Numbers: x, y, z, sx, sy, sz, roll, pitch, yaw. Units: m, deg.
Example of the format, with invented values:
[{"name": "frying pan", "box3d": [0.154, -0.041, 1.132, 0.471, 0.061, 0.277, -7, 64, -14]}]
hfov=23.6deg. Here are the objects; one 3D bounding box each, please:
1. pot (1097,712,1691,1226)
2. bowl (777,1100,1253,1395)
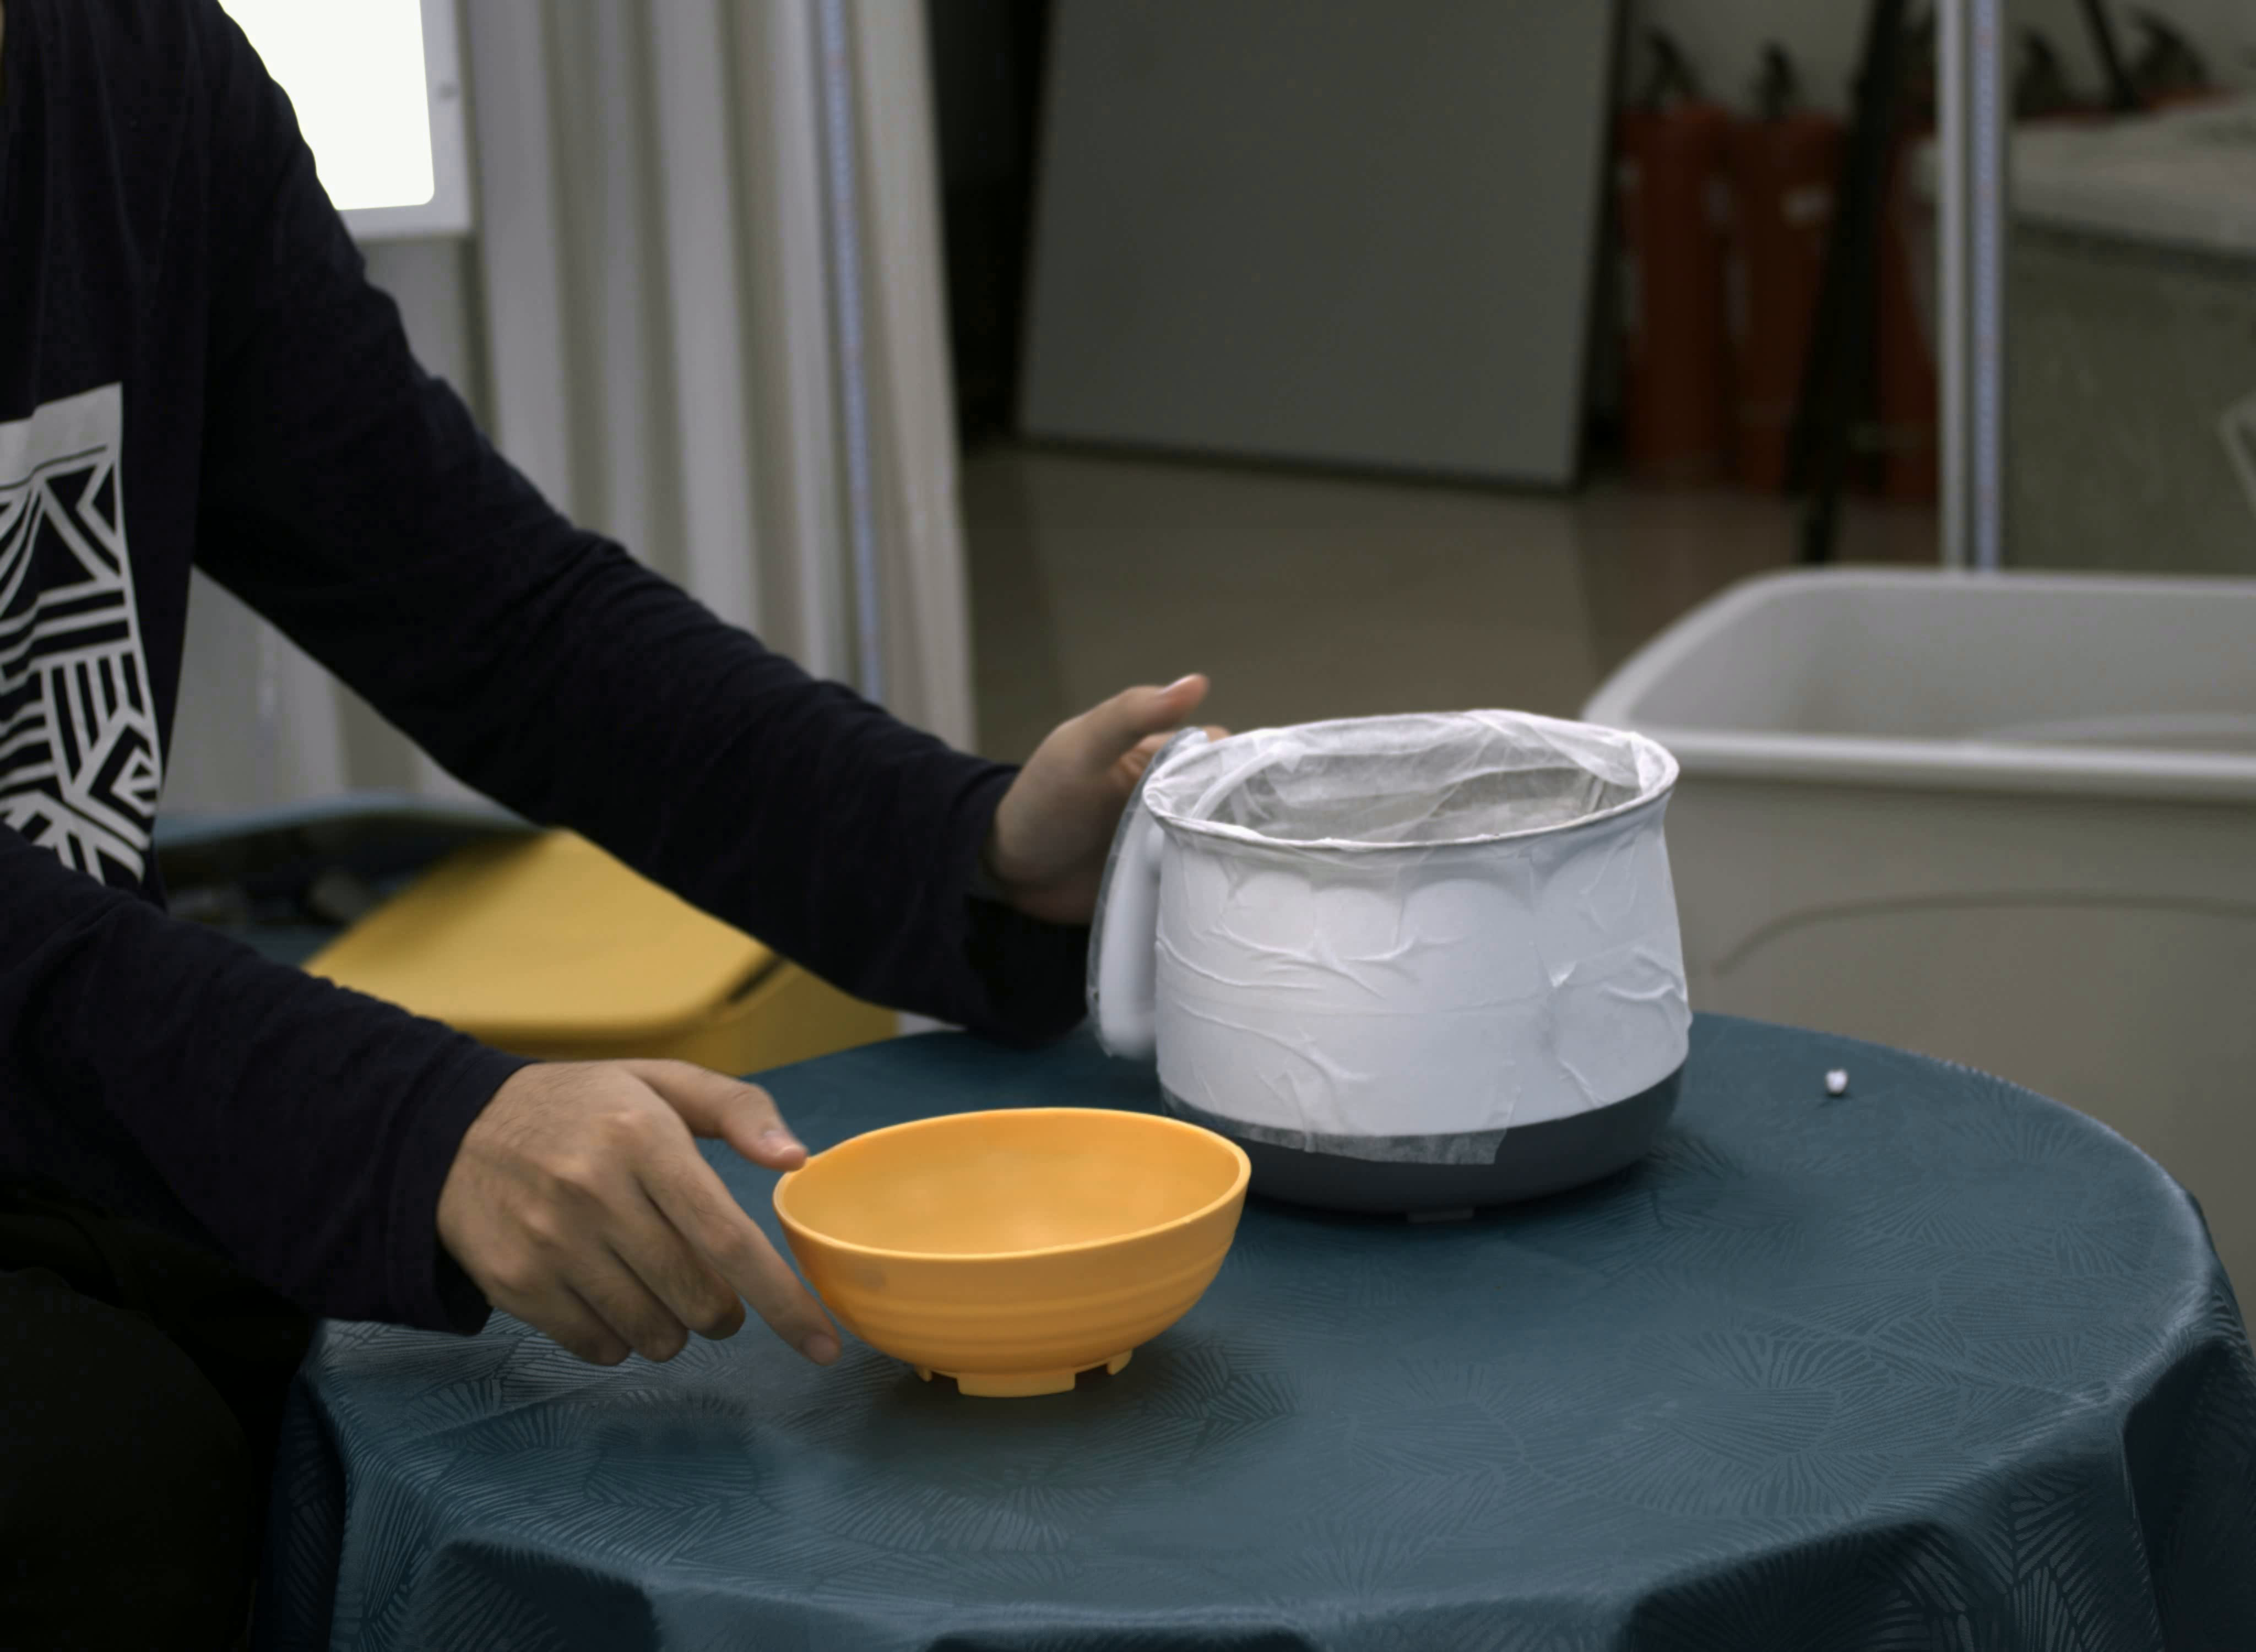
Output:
[{"name": "pot", "box3d": [0.076, 0.042, 1.792, 0.236, 0.138, 0.175, 8, 17, 44]}, {"name": "bowl", "box3d": [-0.030, 0.131, 1.611, 0.143, 0.061, 0.145, -7, 13, 1]}]
